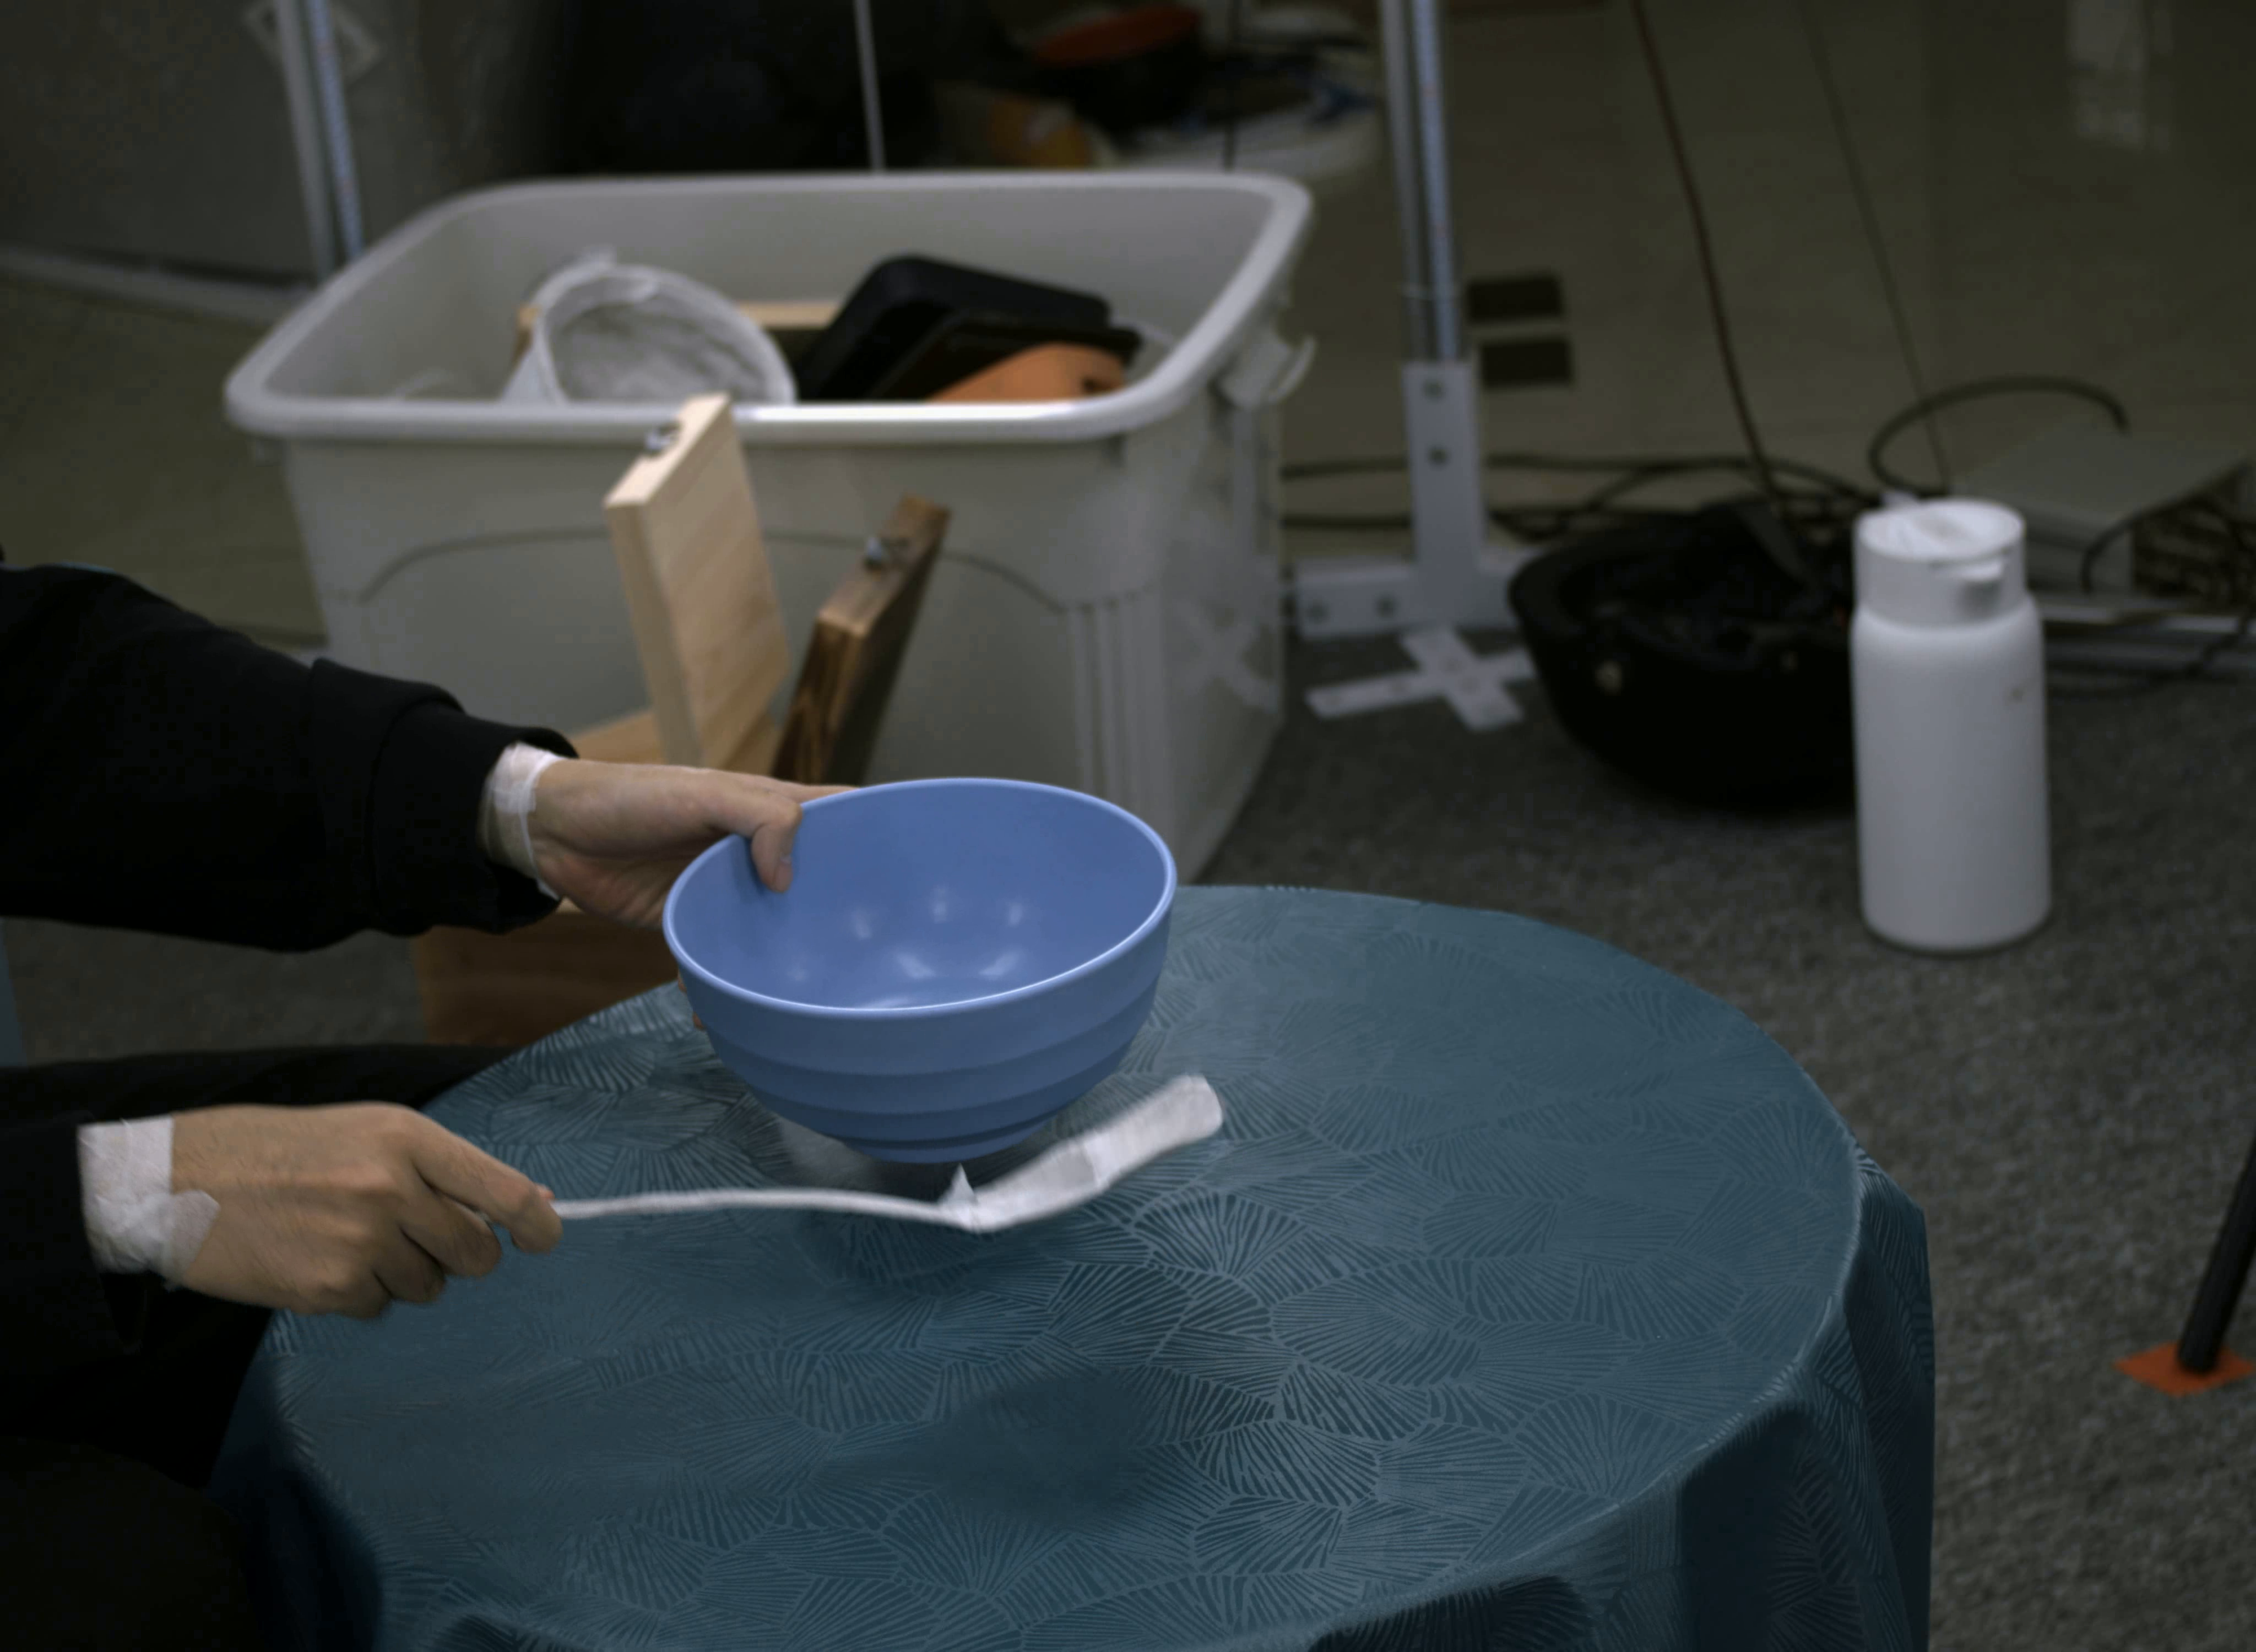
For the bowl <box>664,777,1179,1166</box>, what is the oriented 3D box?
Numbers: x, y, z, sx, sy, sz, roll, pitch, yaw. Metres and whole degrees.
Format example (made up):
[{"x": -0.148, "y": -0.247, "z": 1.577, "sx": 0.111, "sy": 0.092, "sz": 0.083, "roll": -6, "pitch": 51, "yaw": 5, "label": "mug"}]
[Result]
[{"x": -0.075, "y": 0.067, "z": 2.170, "sx": 0.196, "sy": 0.097, "sz": 0.193, "roll": -4, "pitch": 28, "yaw": 2, "label": "bowl"}]

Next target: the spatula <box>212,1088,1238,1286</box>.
[{"x": -0.142, "y": 0.130, "z": 1.978, "sx": 0.364, "sy": 0.045, "sz": 0.098, "roll": -3, "pitch": 9, "yaw": 0, "label": "spatula"}]
